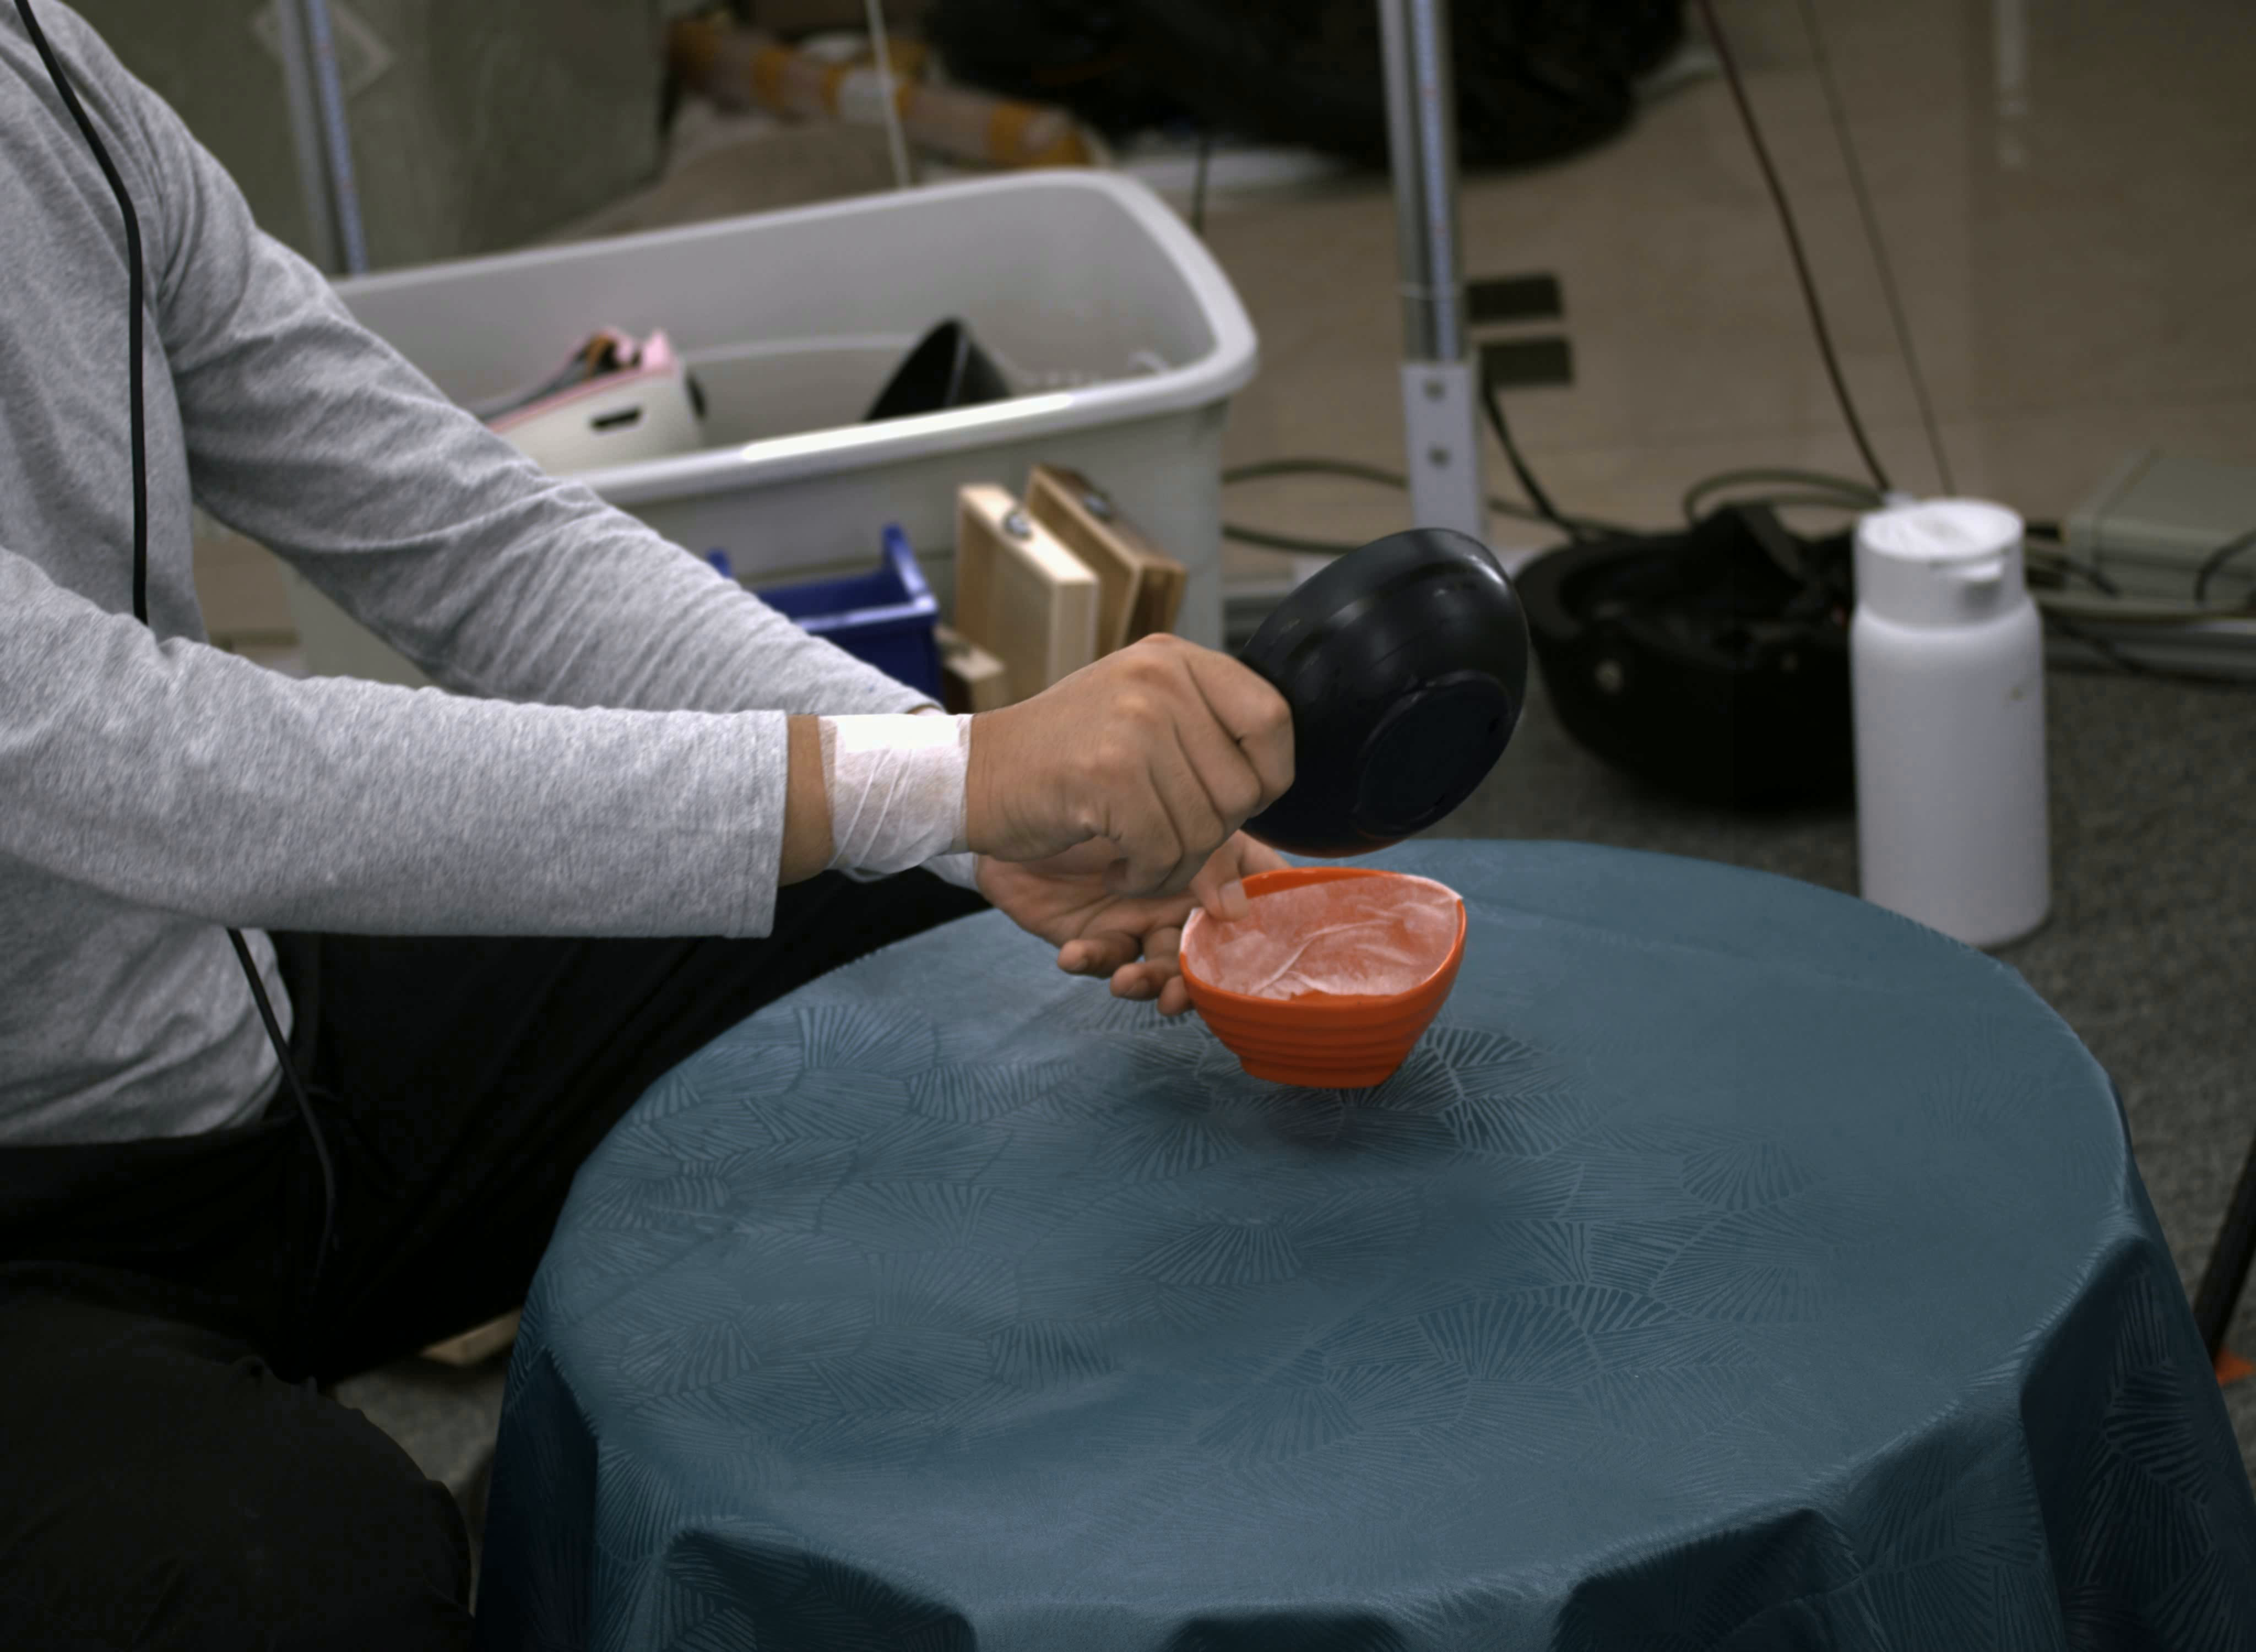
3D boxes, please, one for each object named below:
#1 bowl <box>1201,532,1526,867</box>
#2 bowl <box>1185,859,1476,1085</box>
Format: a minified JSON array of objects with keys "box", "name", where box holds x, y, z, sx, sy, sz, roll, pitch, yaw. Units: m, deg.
[{"box":[0.096,-0.036,2.057,0.139,0.143,0.049,-22,50,-31],"name":"bowl"},{"box":[0.080,0.061,2.210,0.119,0.052,0.117,-3,30,2],"name":"bowl"}]
